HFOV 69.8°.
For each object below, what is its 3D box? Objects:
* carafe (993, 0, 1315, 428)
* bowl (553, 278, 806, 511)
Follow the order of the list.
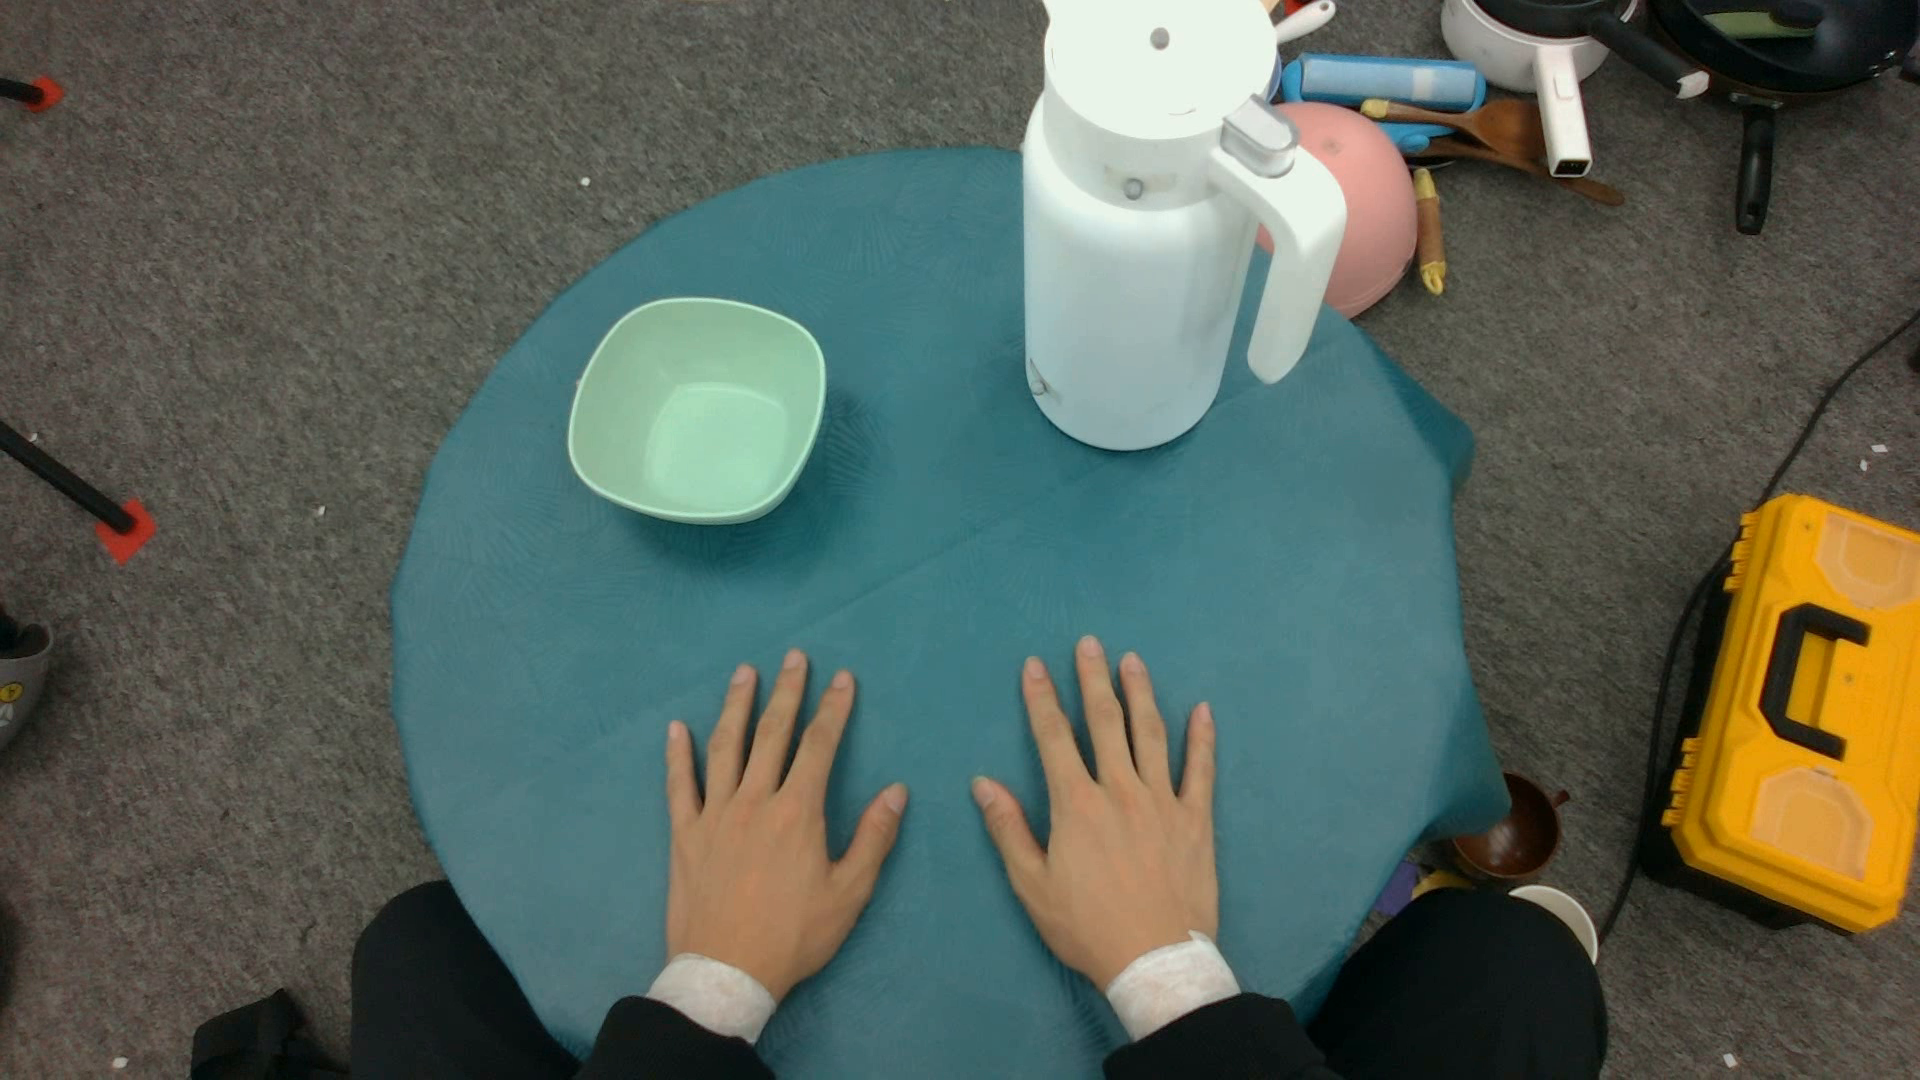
[{"bbox_3d":[0.090,-0.157,0.703,0.124,0.268,0.173,-41,71,-17],"label":"carafe"},{"bbox_3d":[-0.156,-0.076,0.796,0.151,0.058,0.152,0,73,1],"label":"bowl"}]
